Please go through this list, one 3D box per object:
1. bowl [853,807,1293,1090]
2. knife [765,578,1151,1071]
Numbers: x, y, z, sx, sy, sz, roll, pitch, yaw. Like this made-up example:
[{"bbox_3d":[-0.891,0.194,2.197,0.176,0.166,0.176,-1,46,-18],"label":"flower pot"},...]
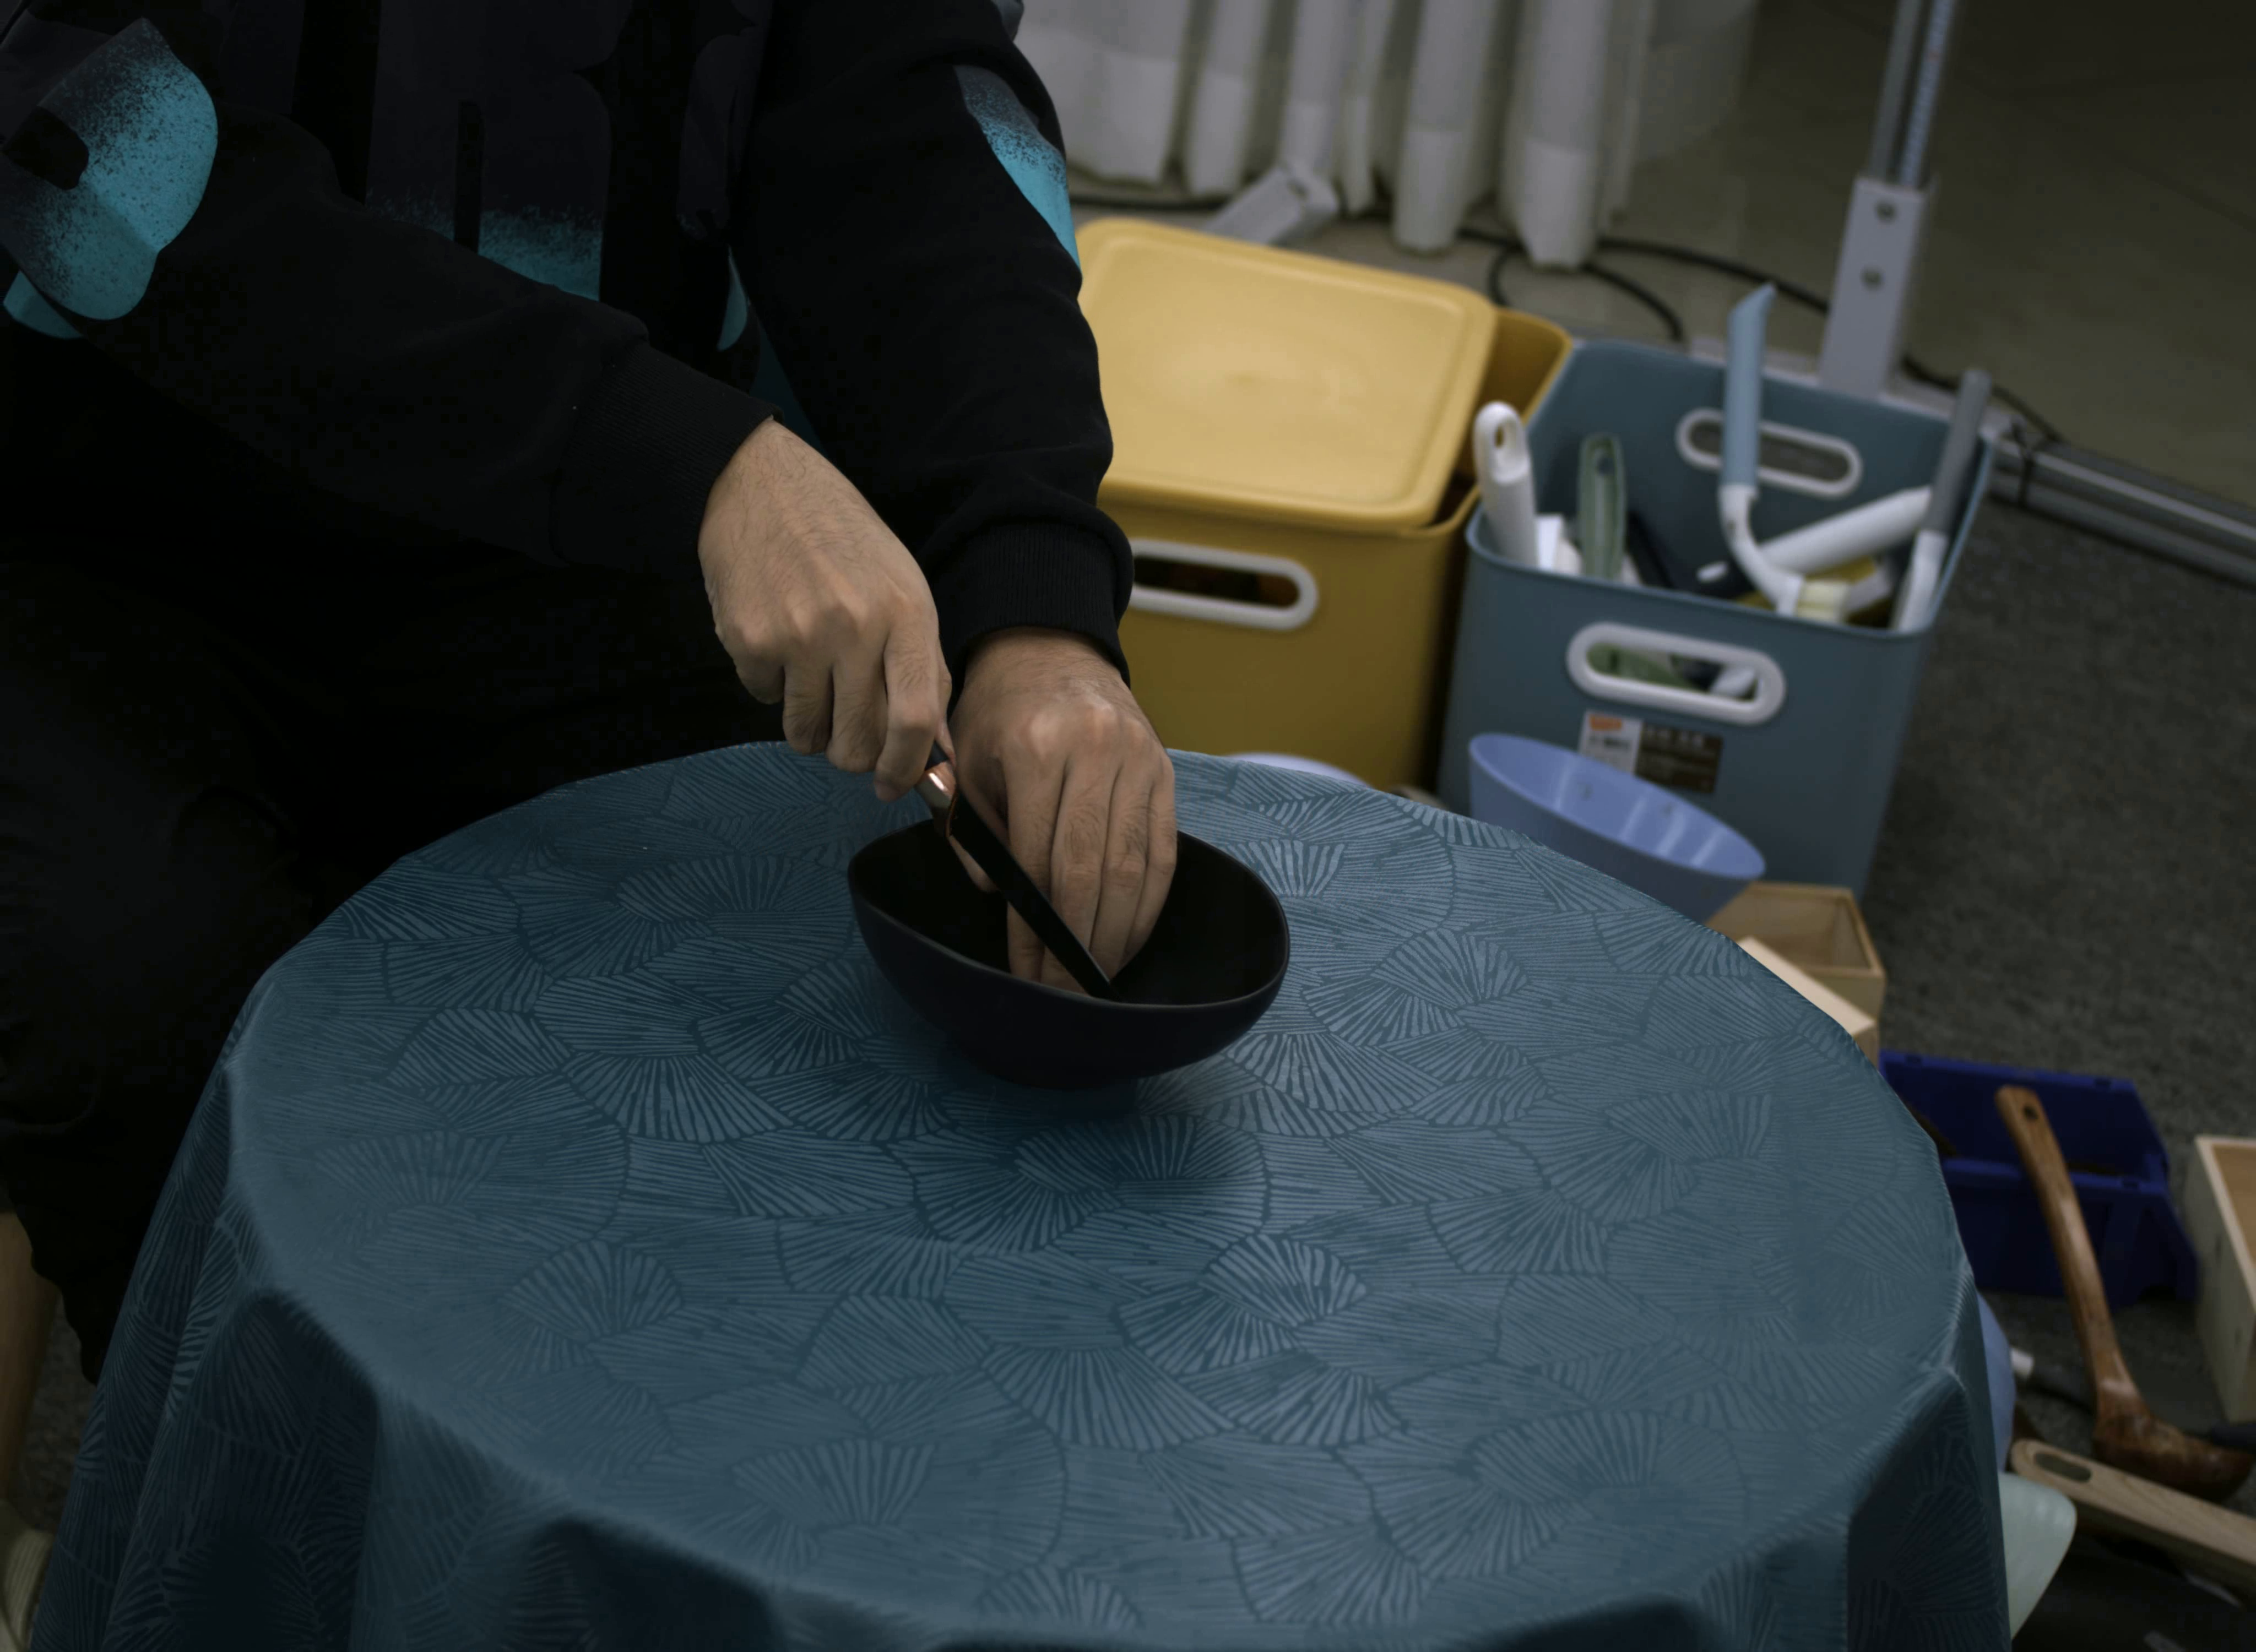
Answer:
[{"bbox_3d":[-0.023,0.050,1.870,0.171,0.066,0.137,22,30,32],"label":"bowl"},{"bbox_3d":[-0.059,-0.002,1.883,0.017,0.026,0.227,-30,71,-26],"label":"knife"}]
